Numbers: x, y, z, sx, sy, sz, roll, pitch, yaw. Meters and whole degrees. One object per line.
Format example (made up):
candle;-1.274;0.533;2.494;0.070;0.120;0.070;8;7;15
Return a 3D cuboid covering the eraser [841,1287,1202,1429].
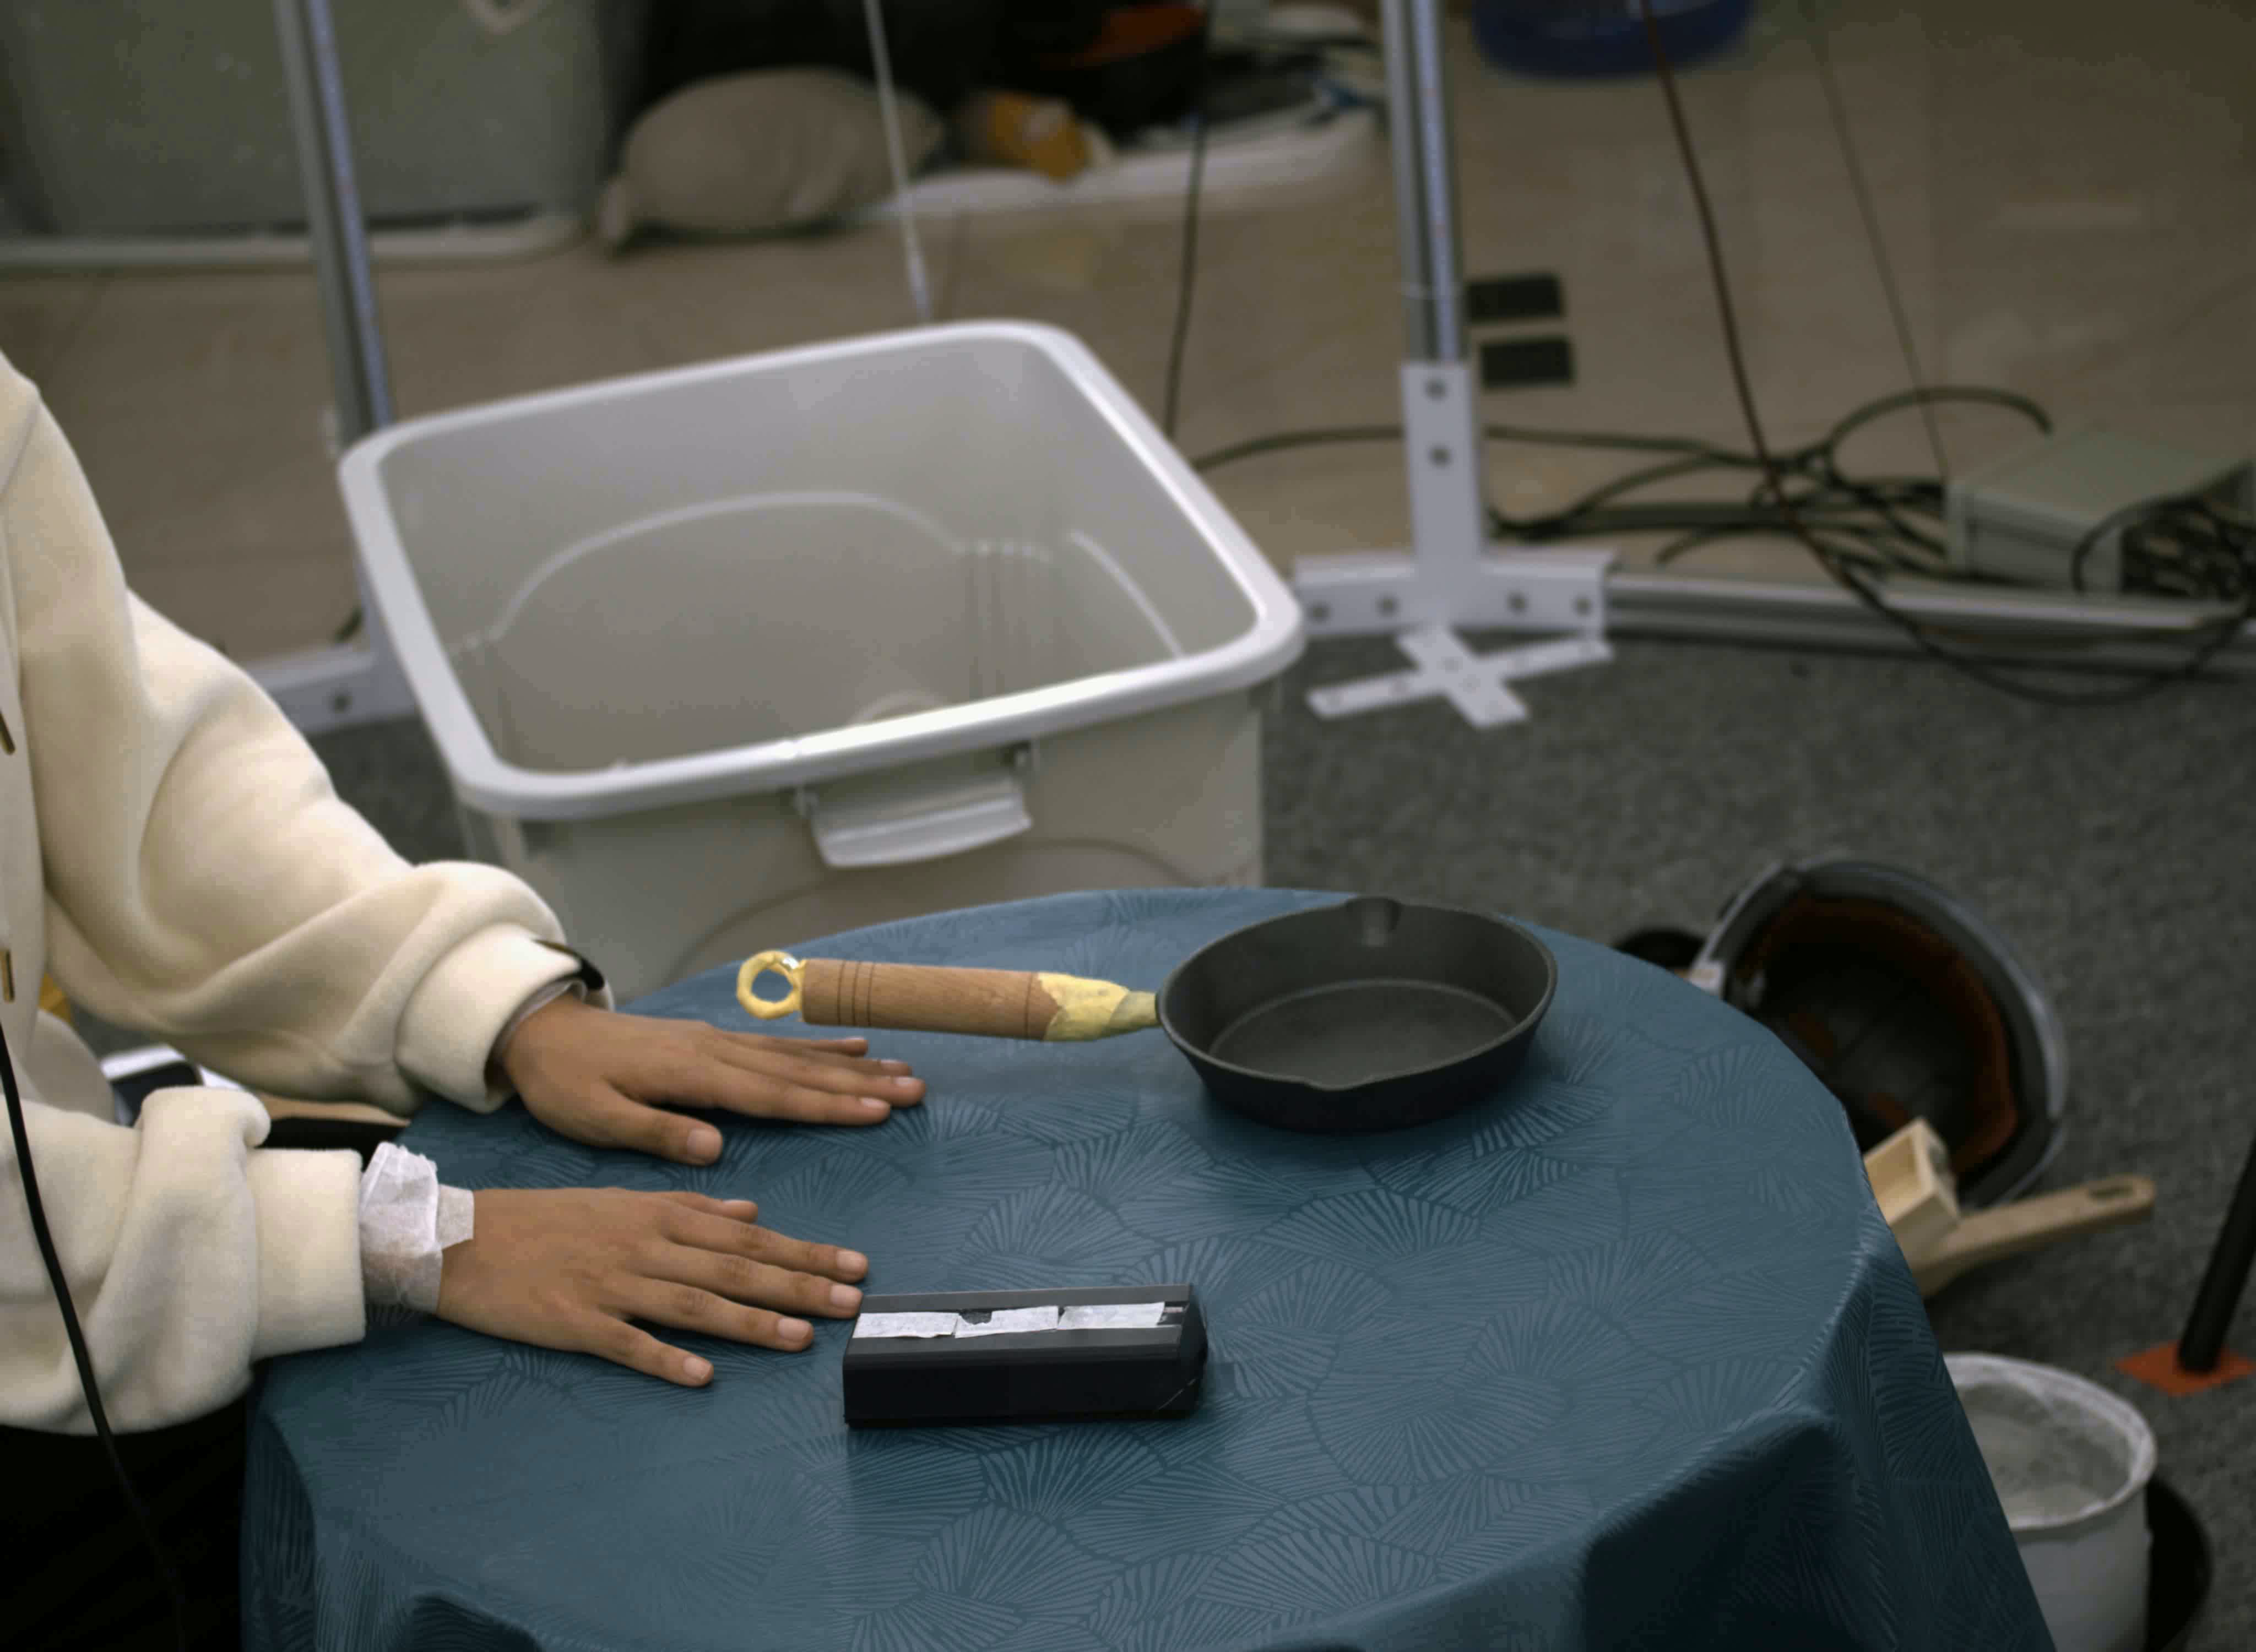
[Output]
eraser;-0.036;0.189;2.018;0.125;0.031;0.053;-3;25;10

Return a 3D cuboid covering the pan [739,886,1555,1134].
pan;0.007;0.072;2.229;0.323;0.050;0.166;-1;27;10
